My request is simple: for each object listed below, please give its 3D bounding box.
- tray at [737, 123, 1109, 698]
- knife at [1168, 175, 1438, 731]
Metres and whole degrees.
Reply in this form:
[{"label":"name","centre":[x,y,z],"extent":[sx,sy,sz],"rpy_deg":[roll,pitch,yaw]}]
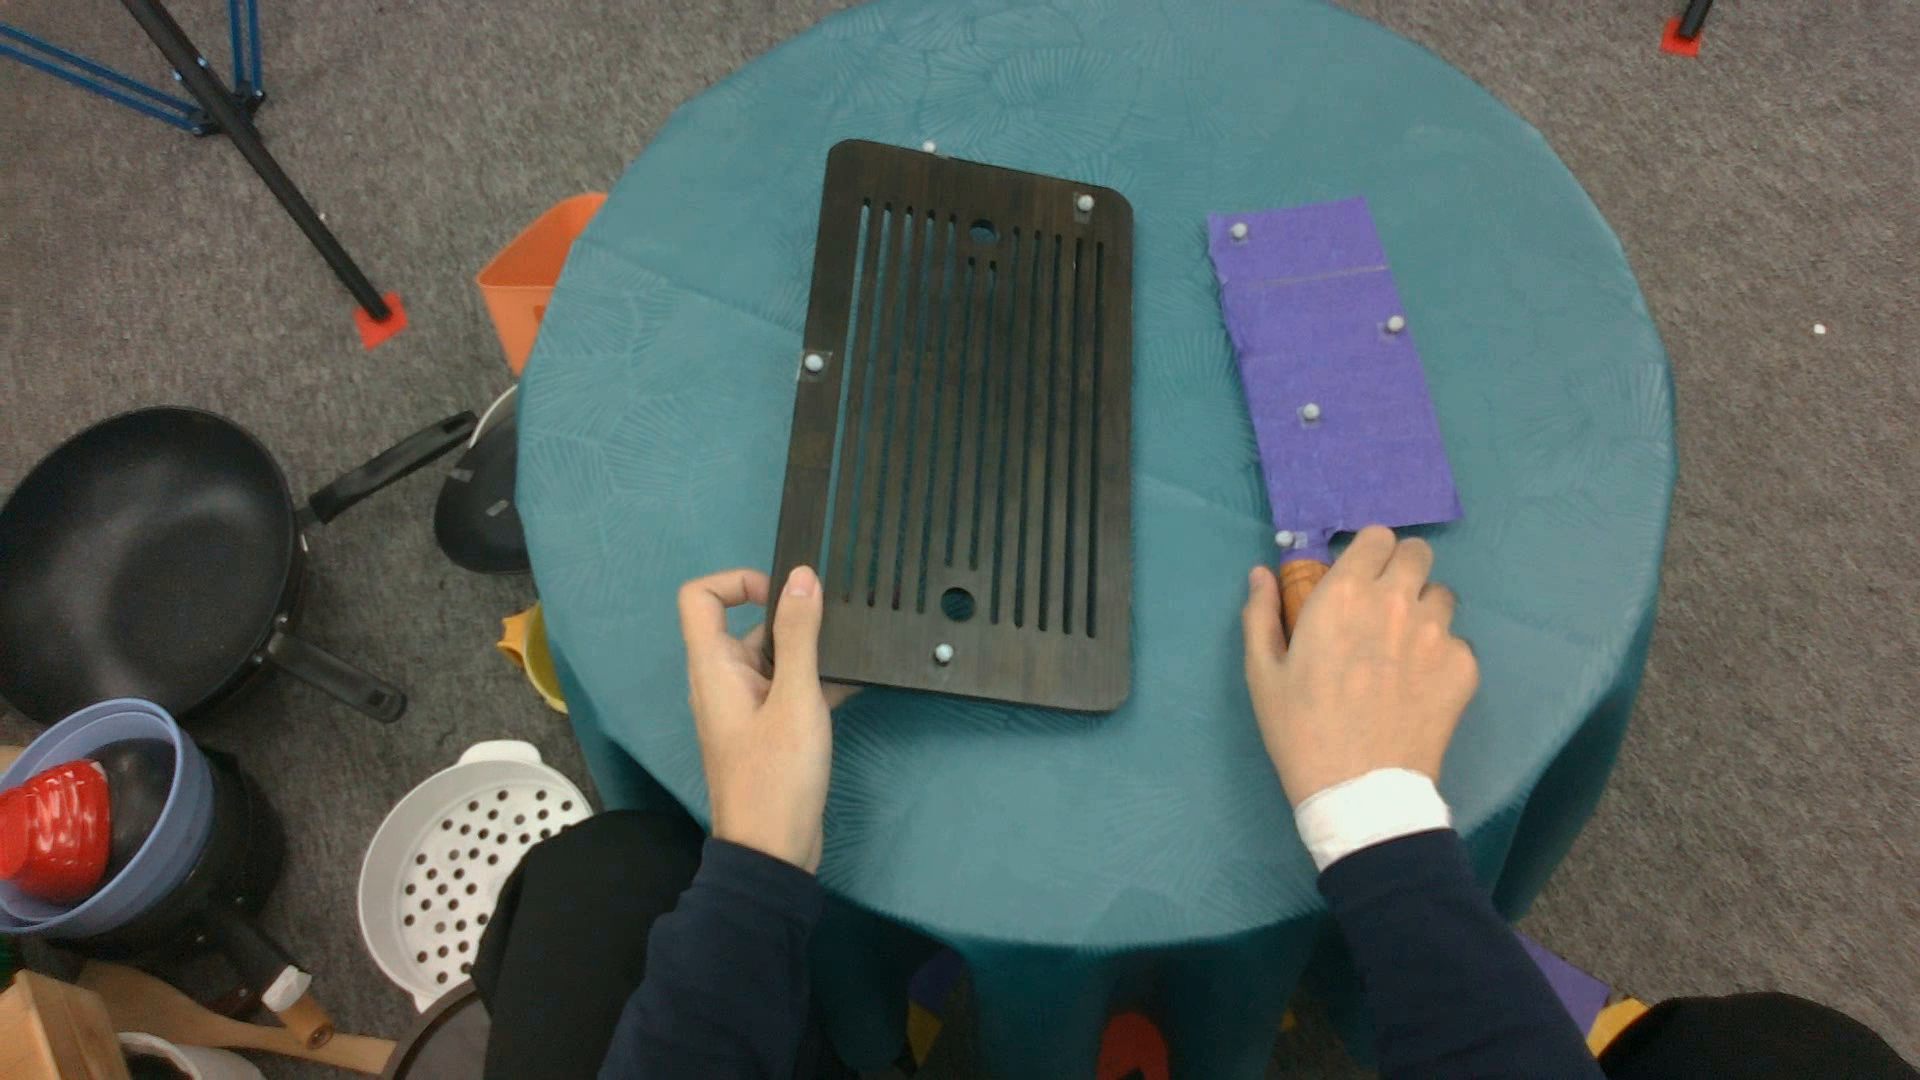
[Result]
[{"label":"tray","centre":[-0.010,-0.074,0.687],"extent":[0.170,0.018,0.307],"rpy_deg":[8,64,-10]},{"label":"knife","centre":[0.182,-0.062,0.686],"extent":[0.104,0.032,0.316],"rpy_deg":[-7,63,1]}]
